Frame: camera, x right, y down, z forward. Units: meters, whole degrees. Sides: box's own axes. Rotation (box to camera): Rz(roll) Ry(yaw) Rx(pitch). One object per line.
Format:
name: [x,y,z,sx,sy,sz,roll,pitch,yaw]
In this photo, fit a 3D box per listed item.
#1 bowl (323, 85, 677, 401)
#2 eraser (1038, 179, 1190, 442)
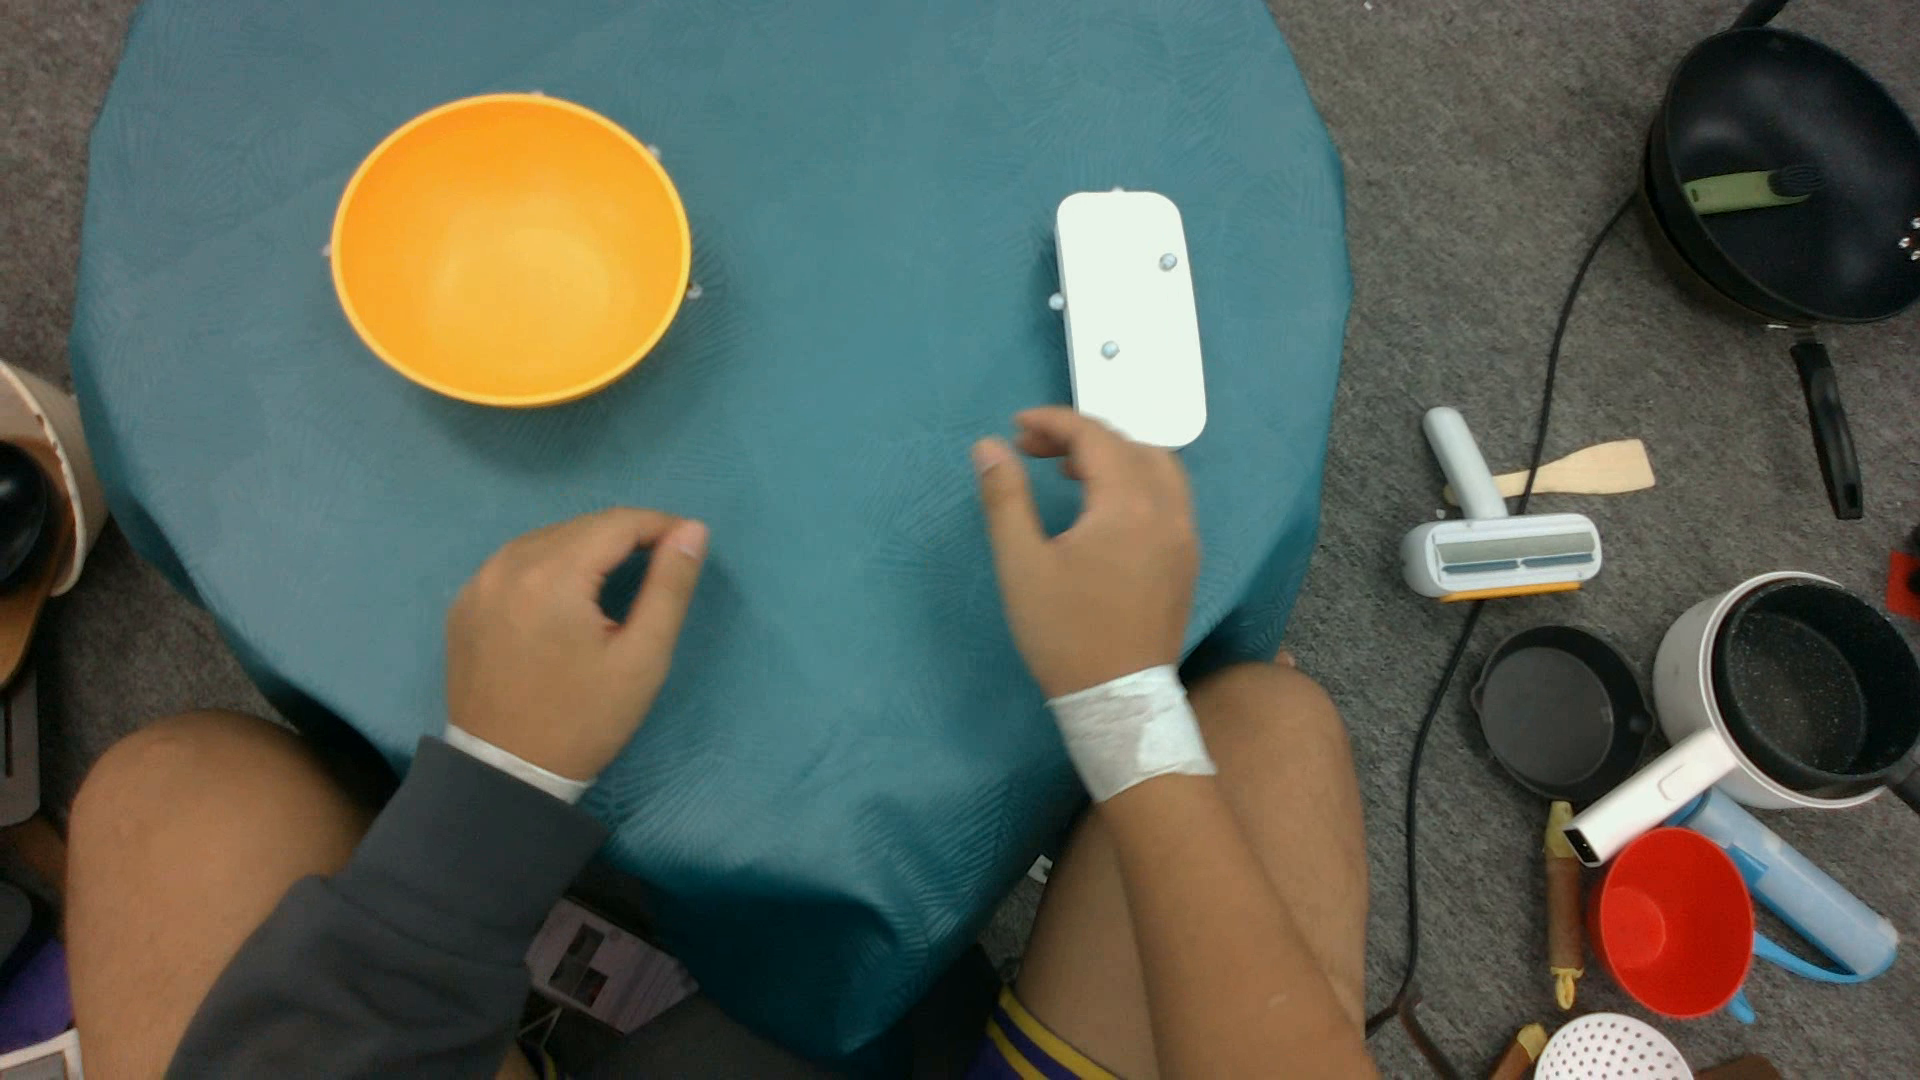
bowl: [-0.197,-0.122,0.609,0.145,0.060,0.145,2,77,-7]
eraser: [0.071,-0.111,0.659,0.063,0.034,0.131,-2,74,-9]
